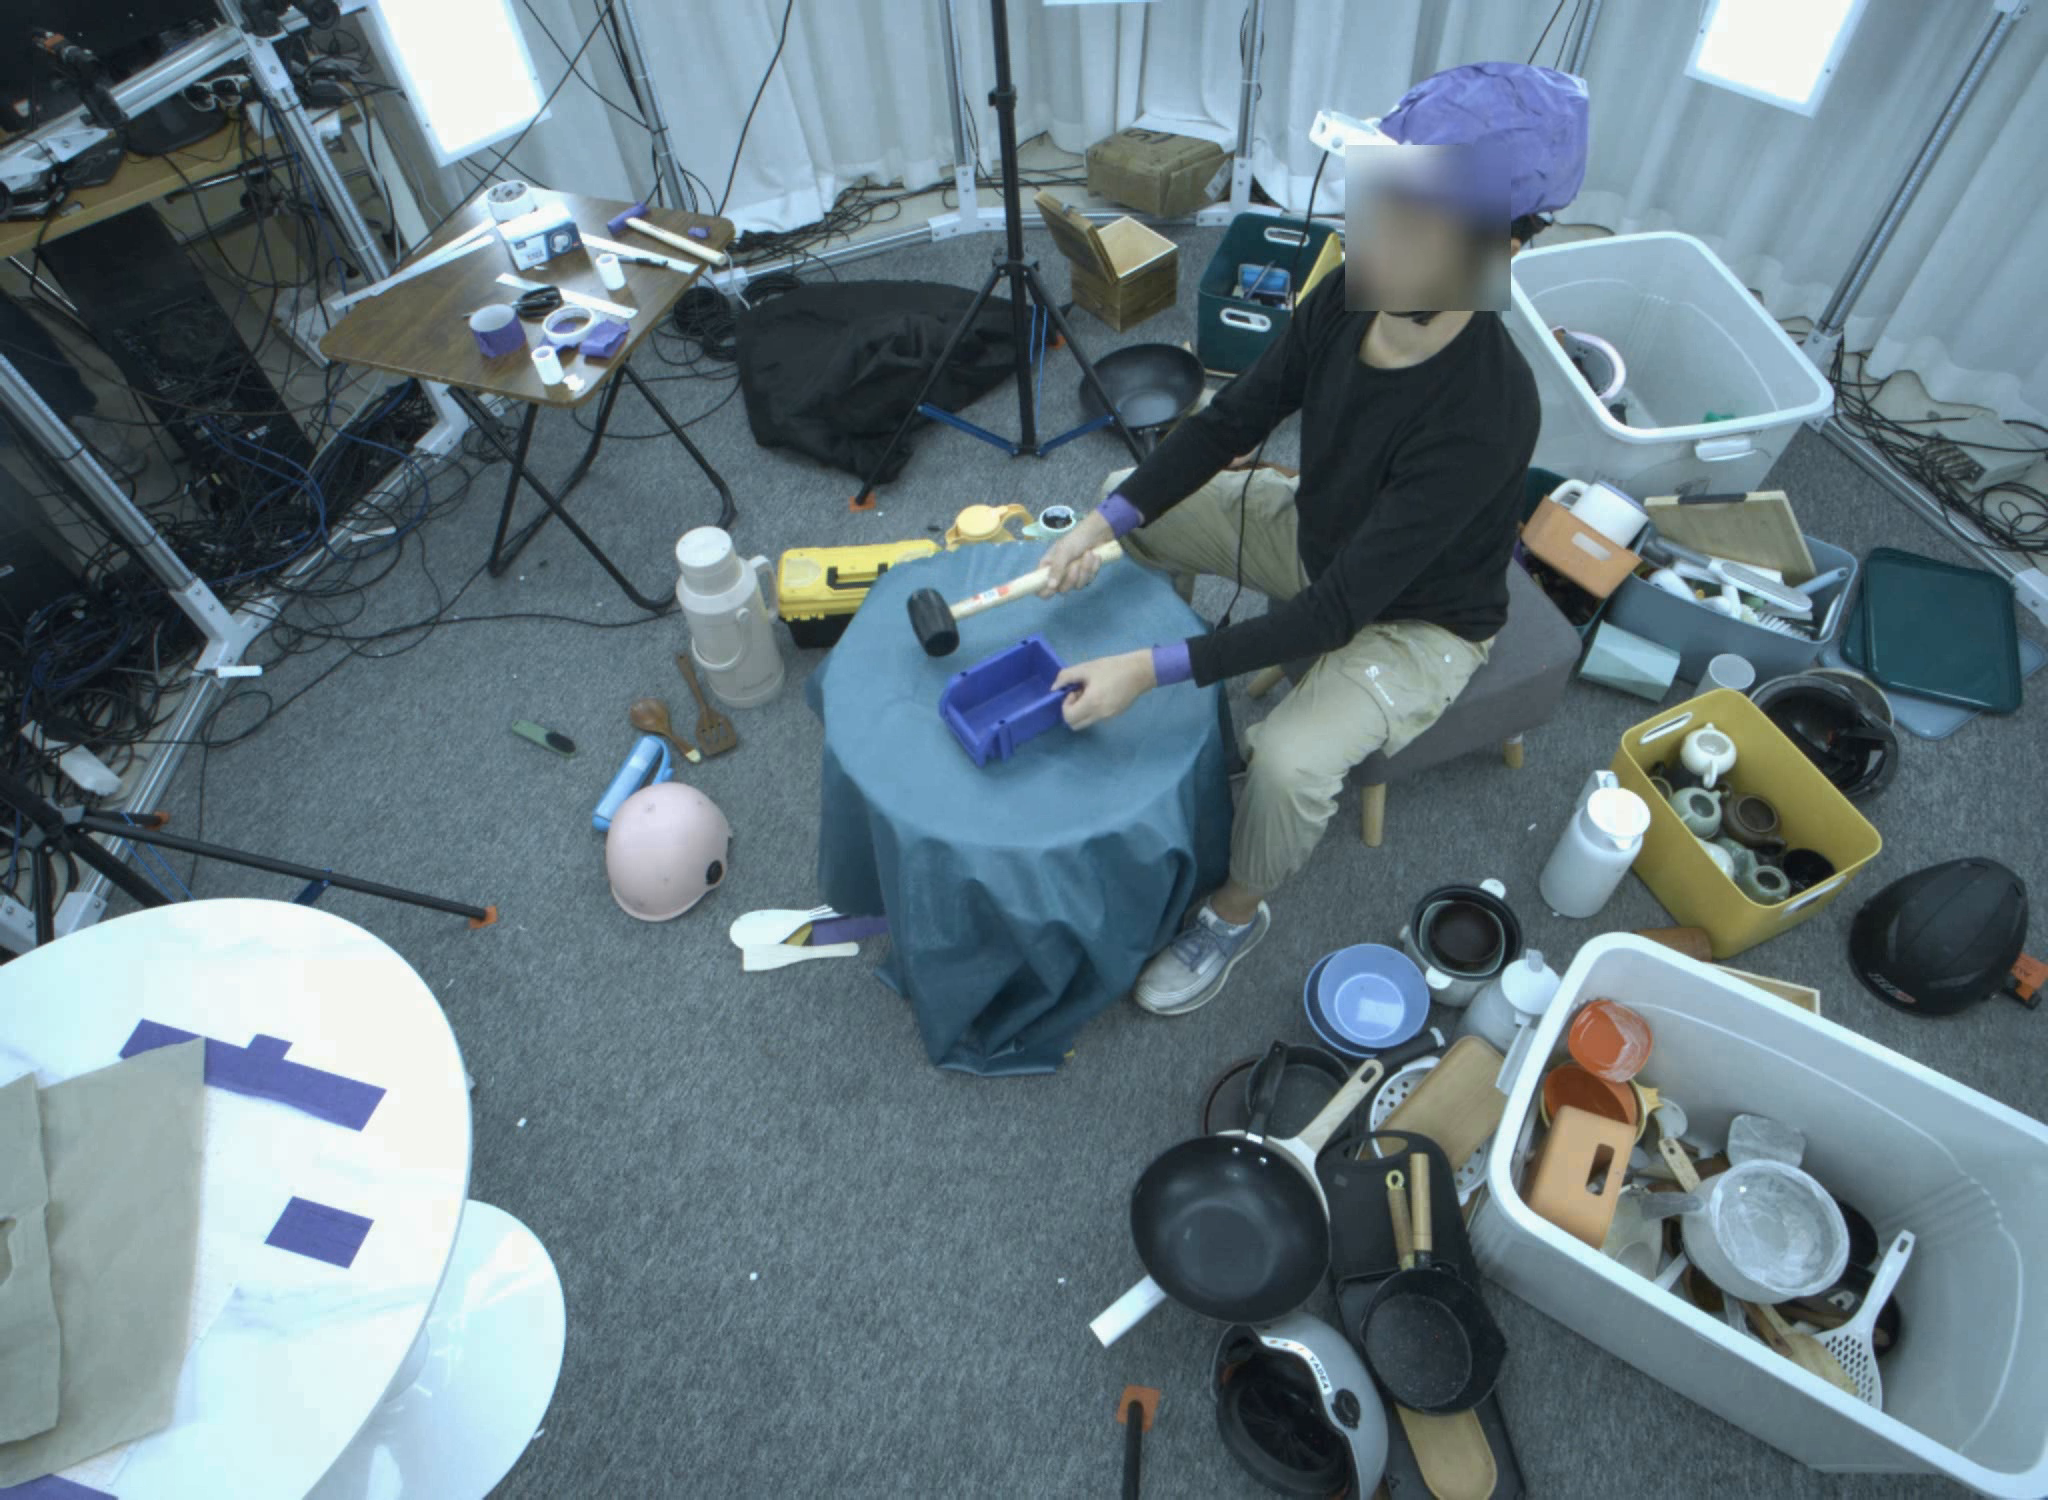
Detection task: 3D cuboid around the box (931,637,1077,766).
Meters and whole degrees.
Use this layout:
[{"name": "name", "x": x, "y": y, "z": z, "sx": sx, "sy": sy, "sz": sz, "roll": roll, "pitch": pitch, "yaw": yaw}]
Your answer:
[{"name": "box", "x": -0.029, "y": -0.065, "z": 1.781, "sx": 0.181, "sy": 0.082, "sz": 0.122, "roll": -26, "pitch": 57, "yaw": -19}]

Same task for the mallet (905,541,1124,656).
[{"name": "mallet", "x": -0.013, "y": -0.249, "z": 1.849, "sx": 0.339, "sy": 0.065, "sz": 0.100, "roll": -23, "pitch": 60, "yaw": -3}]
